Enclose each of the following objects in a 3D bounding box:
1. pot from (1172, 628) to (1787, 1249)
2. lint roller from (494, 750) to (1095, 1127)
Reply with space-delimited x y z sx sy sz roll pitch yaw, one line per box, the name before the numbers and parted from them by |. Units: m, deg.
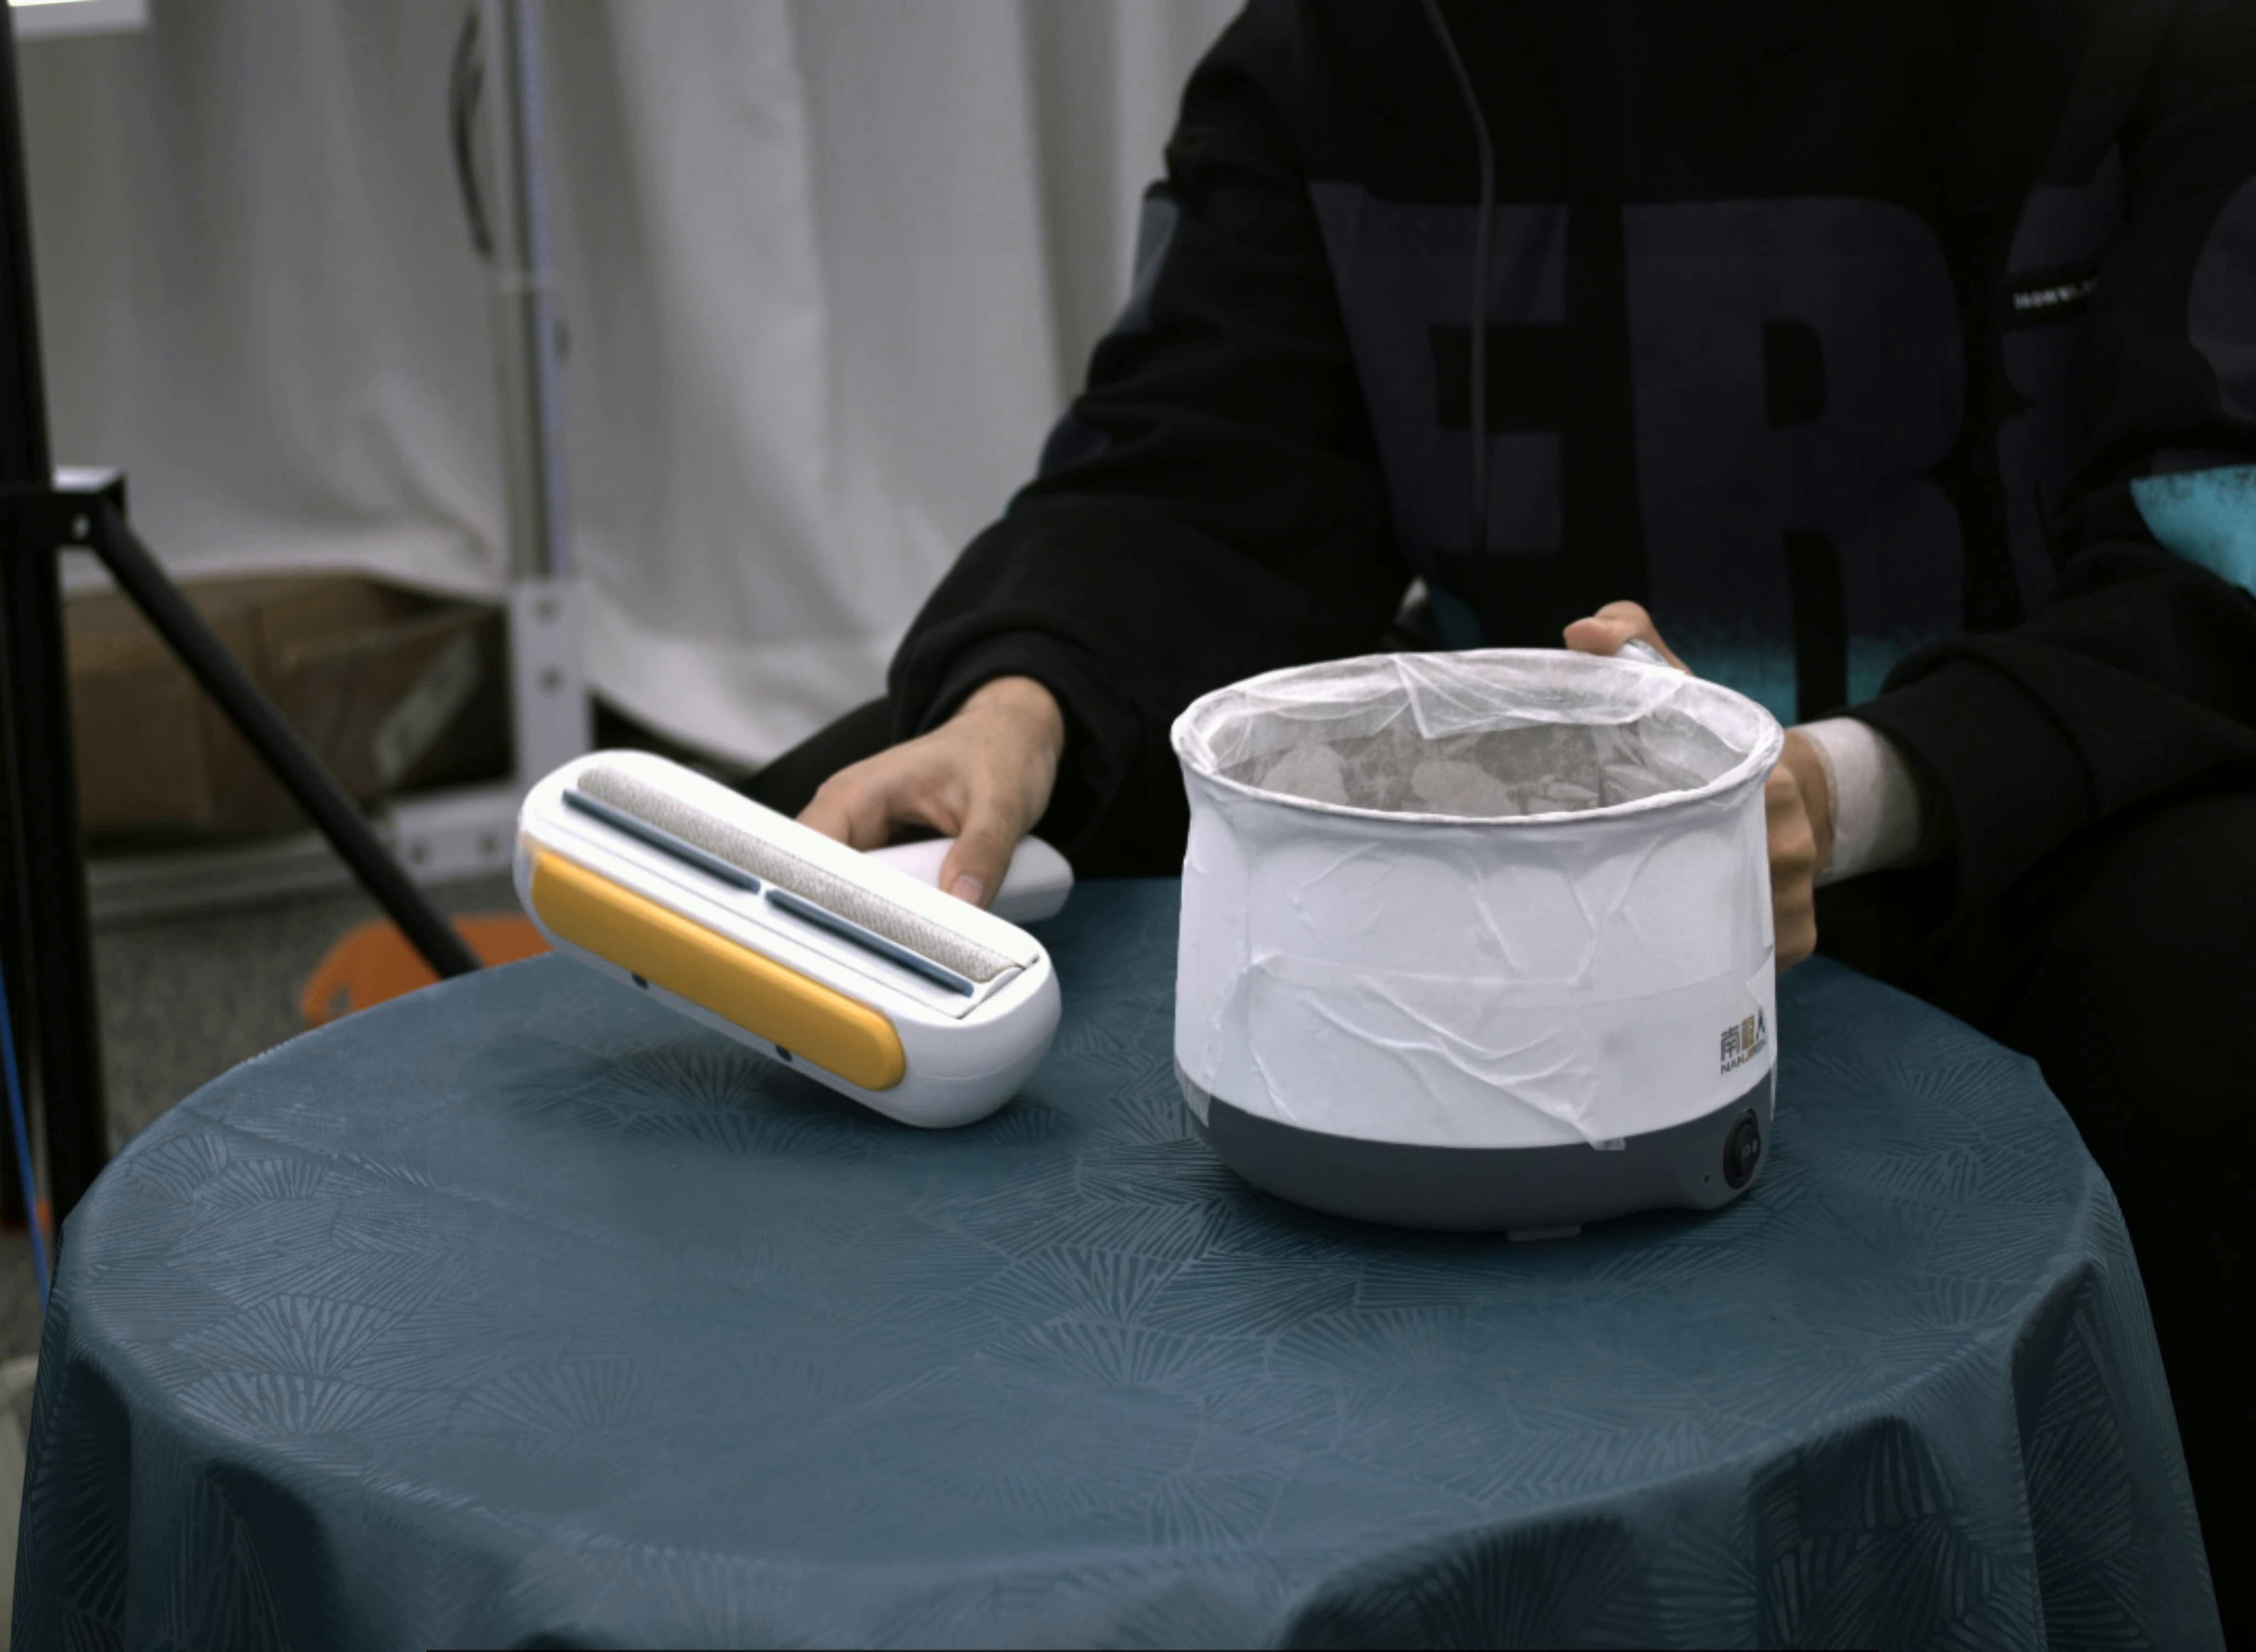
pot | 0.115 0.025 1.566 0.182 0.136 0.229 10 21 30
lint roller | -0.079 0.024 1.710 0.197 0.074 0.188 21 30 34
